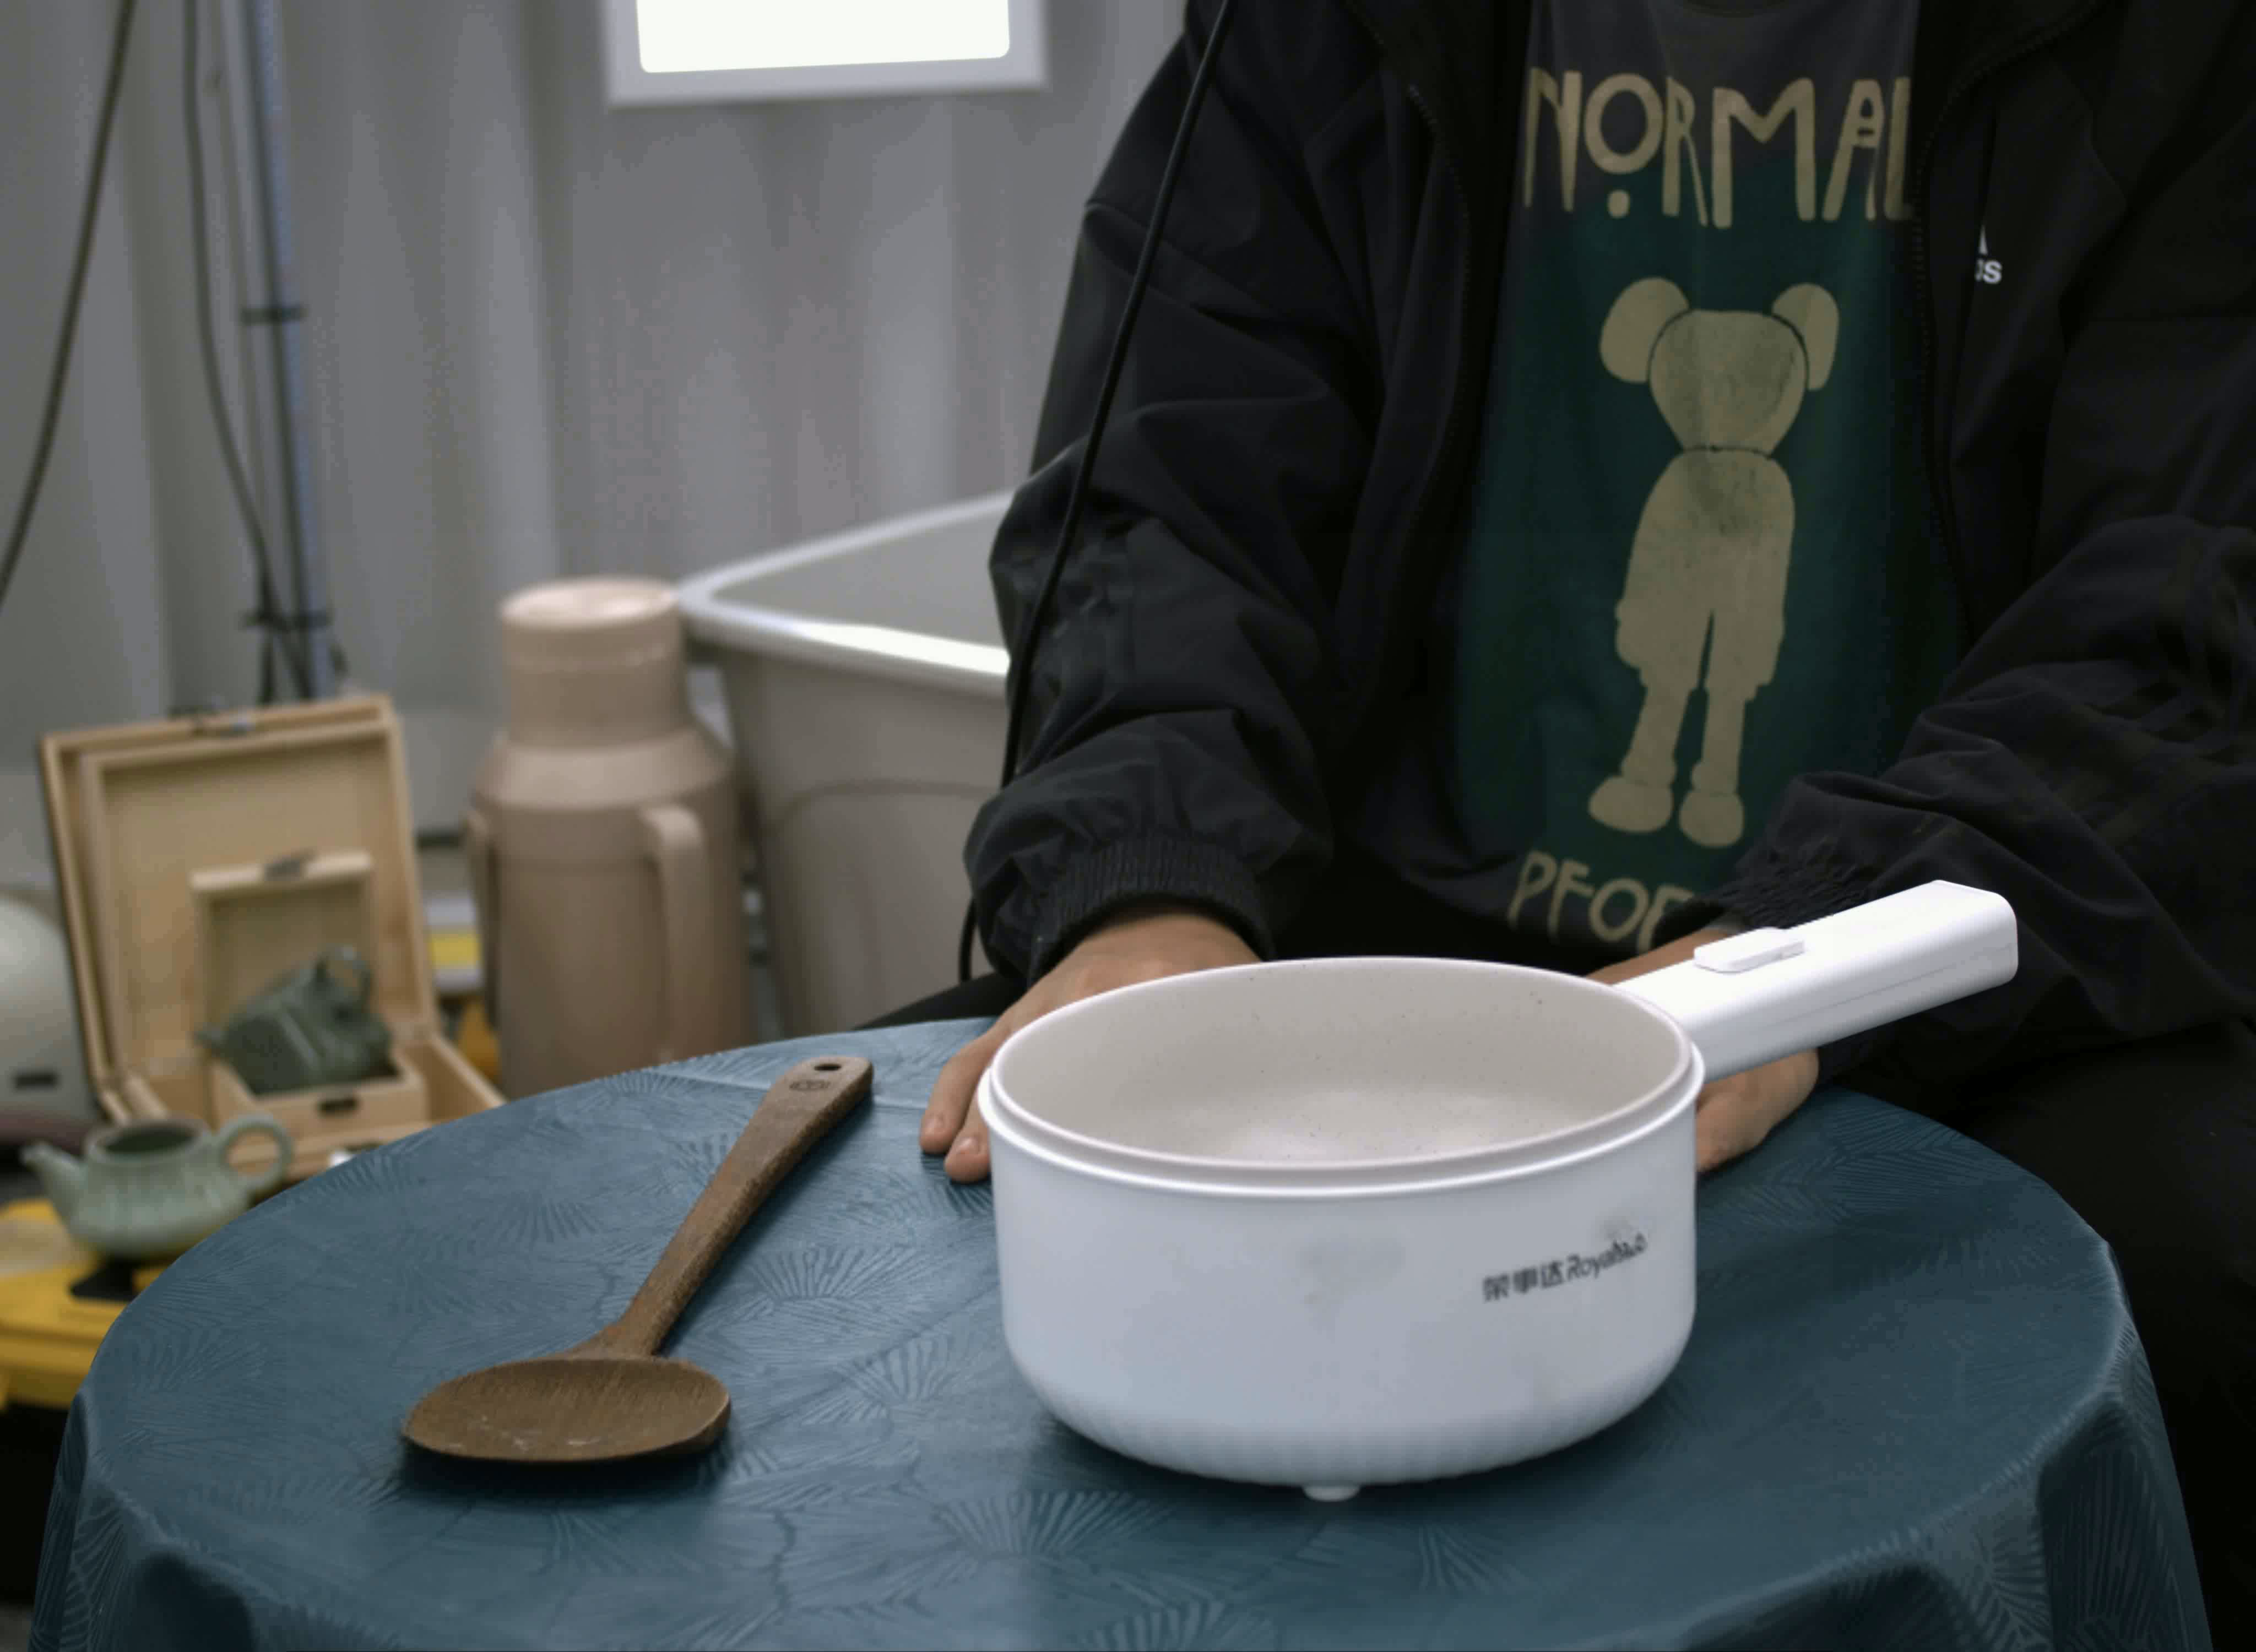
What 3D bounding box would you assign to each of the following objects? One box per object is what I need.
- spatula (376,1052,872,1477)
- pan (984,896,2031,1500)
[{"bbox_3d":[-0.131,0.127,1.666,0.096,0.016,0.388,1,15,10],"label":"spatula"},{"bbox_3d":[0.122,0.099,1.565,0.353,0.102,0.202,-12,16,-37],"label":"pan"}]
